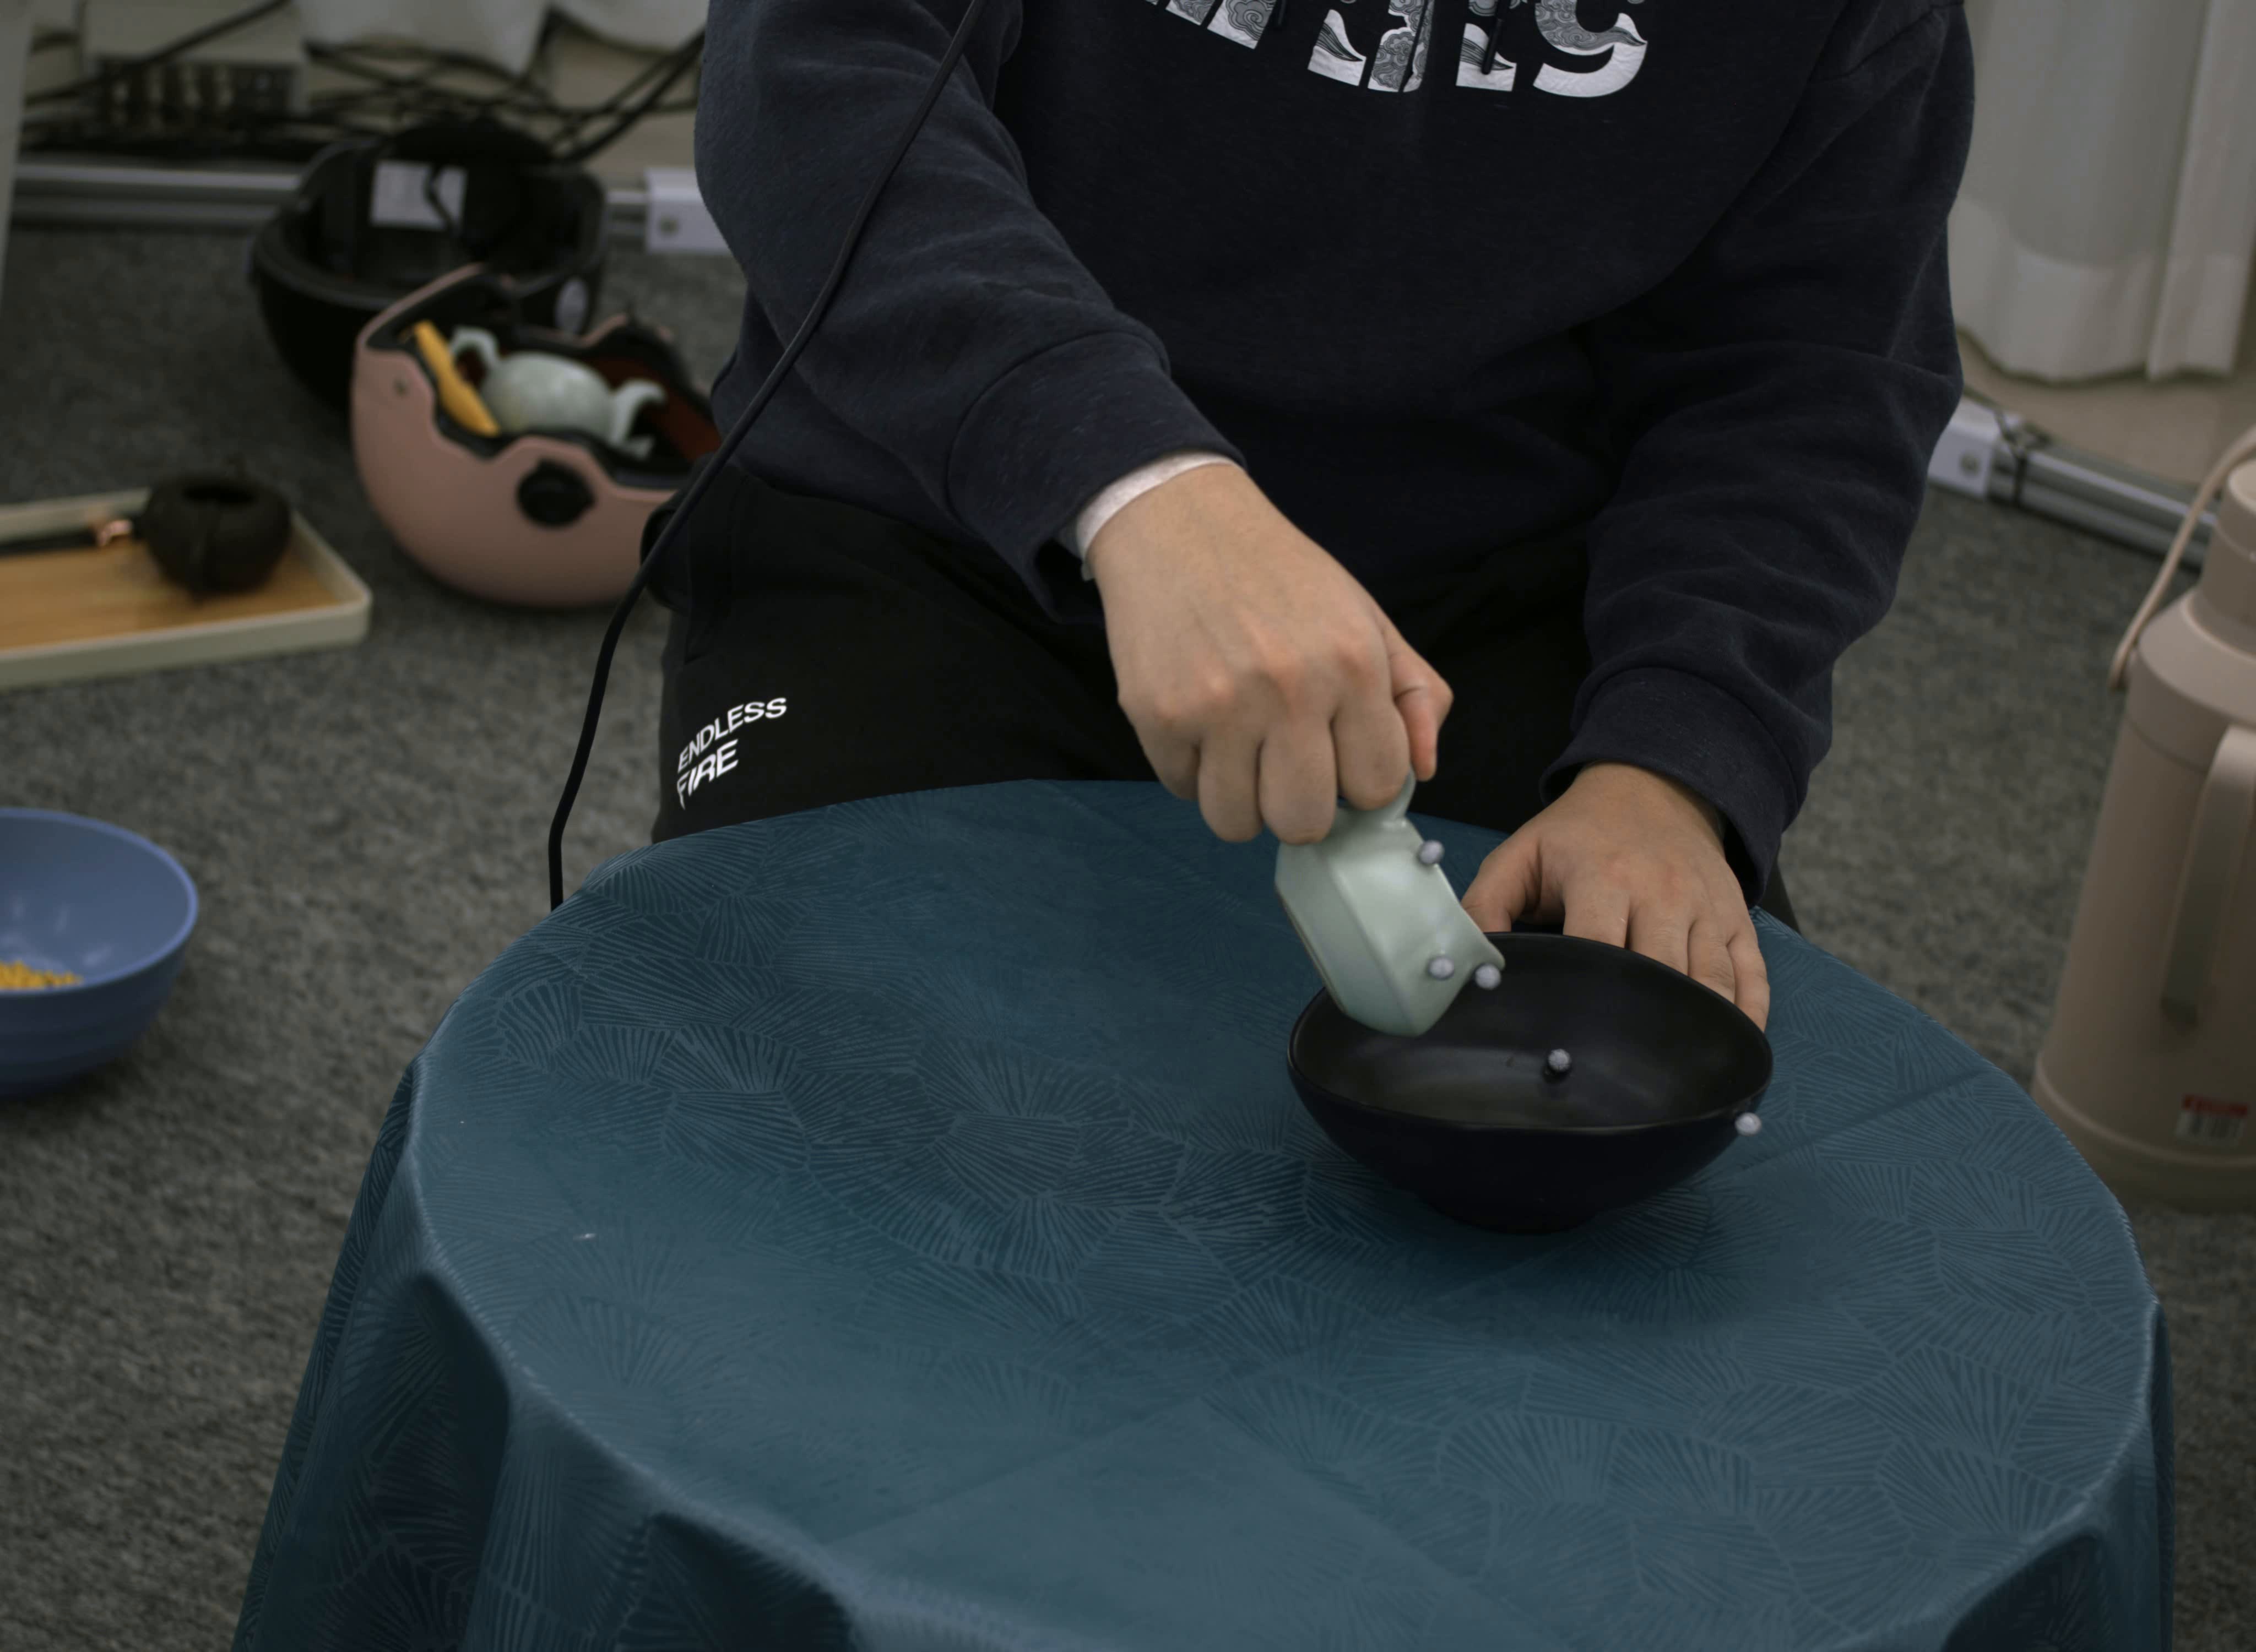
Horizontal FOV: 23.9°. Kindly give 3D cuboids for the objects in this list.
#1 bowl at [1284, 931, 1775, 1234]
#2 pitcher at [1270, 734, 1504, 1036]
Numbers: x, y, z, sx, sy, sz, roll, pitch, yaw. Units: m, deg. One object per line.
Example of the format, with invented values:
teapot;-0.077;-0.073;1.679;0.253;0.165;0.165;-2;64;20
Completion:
bowl;0.136;0.097;1.823;0.169;0.066;0.138;-2;27;-15
pitcher;0.079;0.019;1.761;0.060;0.107;0.087;-31;30;0
